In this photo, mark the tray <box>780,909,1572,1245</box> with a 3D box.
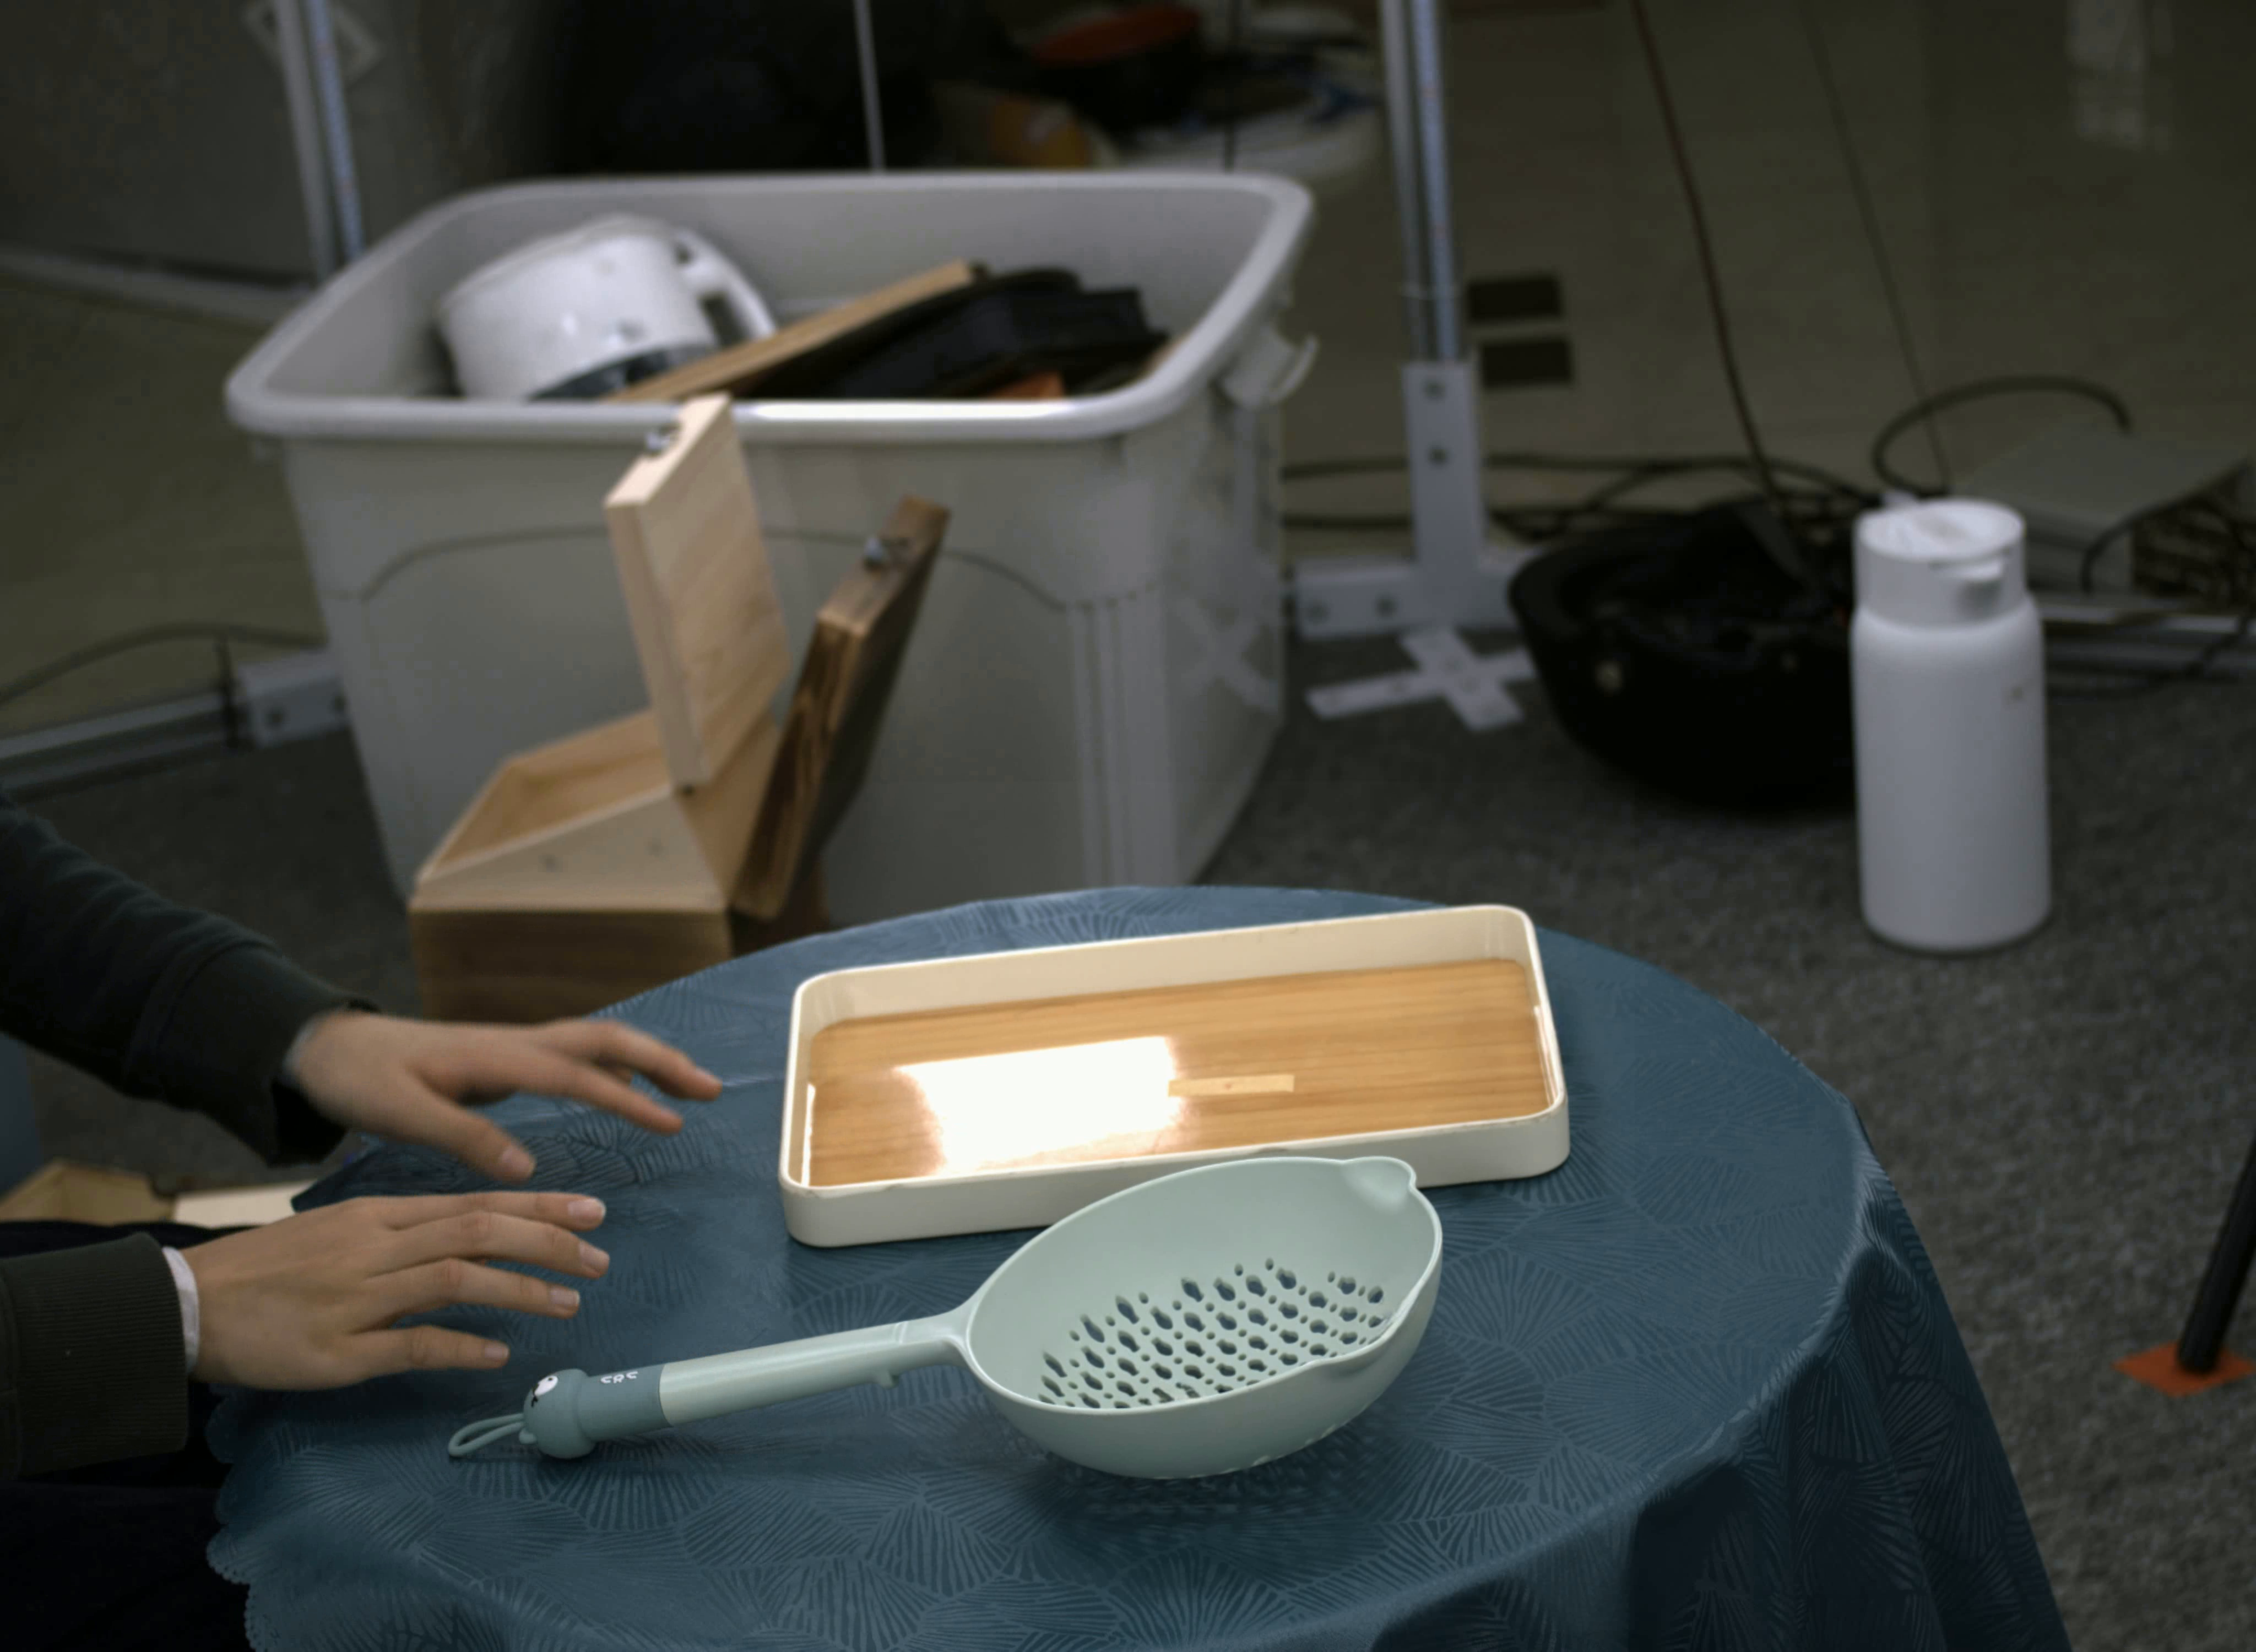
[{"bbox_3d":[0.017,0.096,2.210,0.300,0.028,0.189,-5,25,2],"label":"tray"}]

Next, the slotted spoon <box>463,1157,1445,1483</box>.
[{"bbox_3d":[-0.065,0.186,1.991,0.358,0.076,0.167,-3,25,8],"label":"slotted spoon"}]
